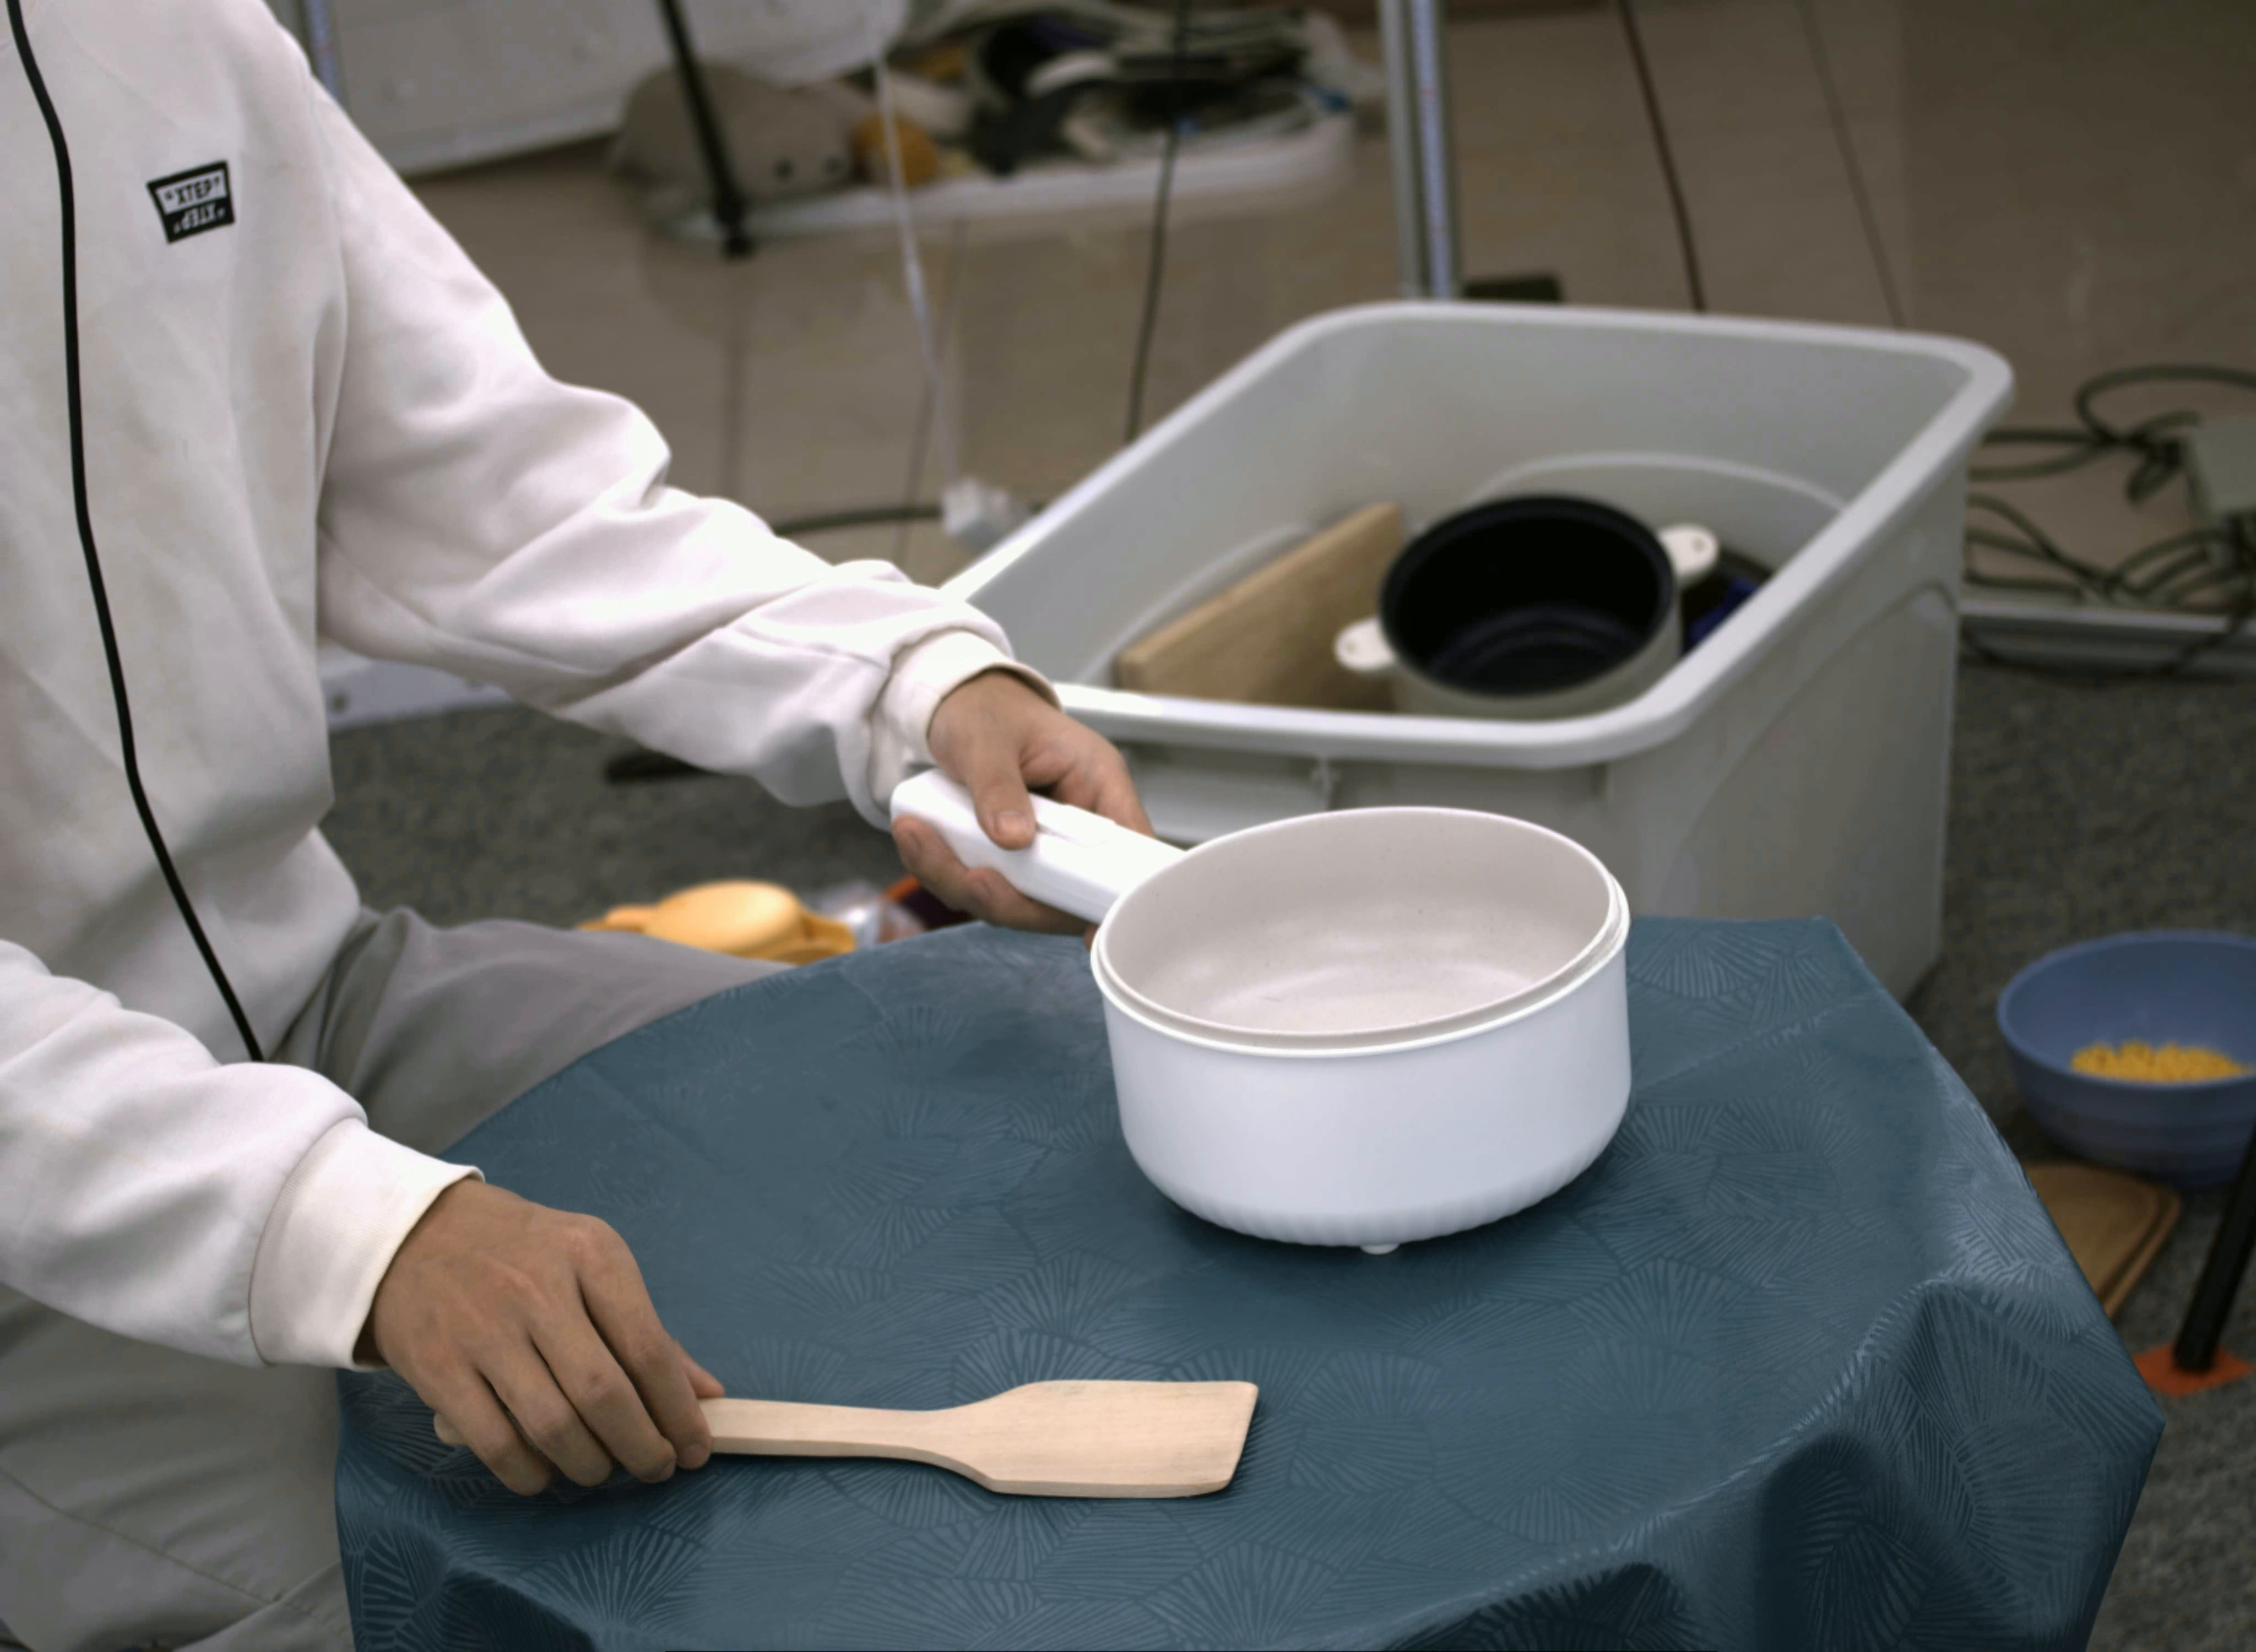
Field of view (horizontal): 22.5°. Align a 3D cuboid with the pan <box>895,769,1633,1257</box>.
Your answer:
[{"bbox_3d":[0.040,0.063,2.186,0.199,0.104,0.352,-27,30,-35],"label":"pan"}]

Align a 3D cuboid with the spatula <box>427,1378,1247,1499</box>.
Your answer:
[{"bbox_3d":[-0.106,0.212,1.997,0.292,0.011,0.071,1,26,11],"label":"spatula"}]
